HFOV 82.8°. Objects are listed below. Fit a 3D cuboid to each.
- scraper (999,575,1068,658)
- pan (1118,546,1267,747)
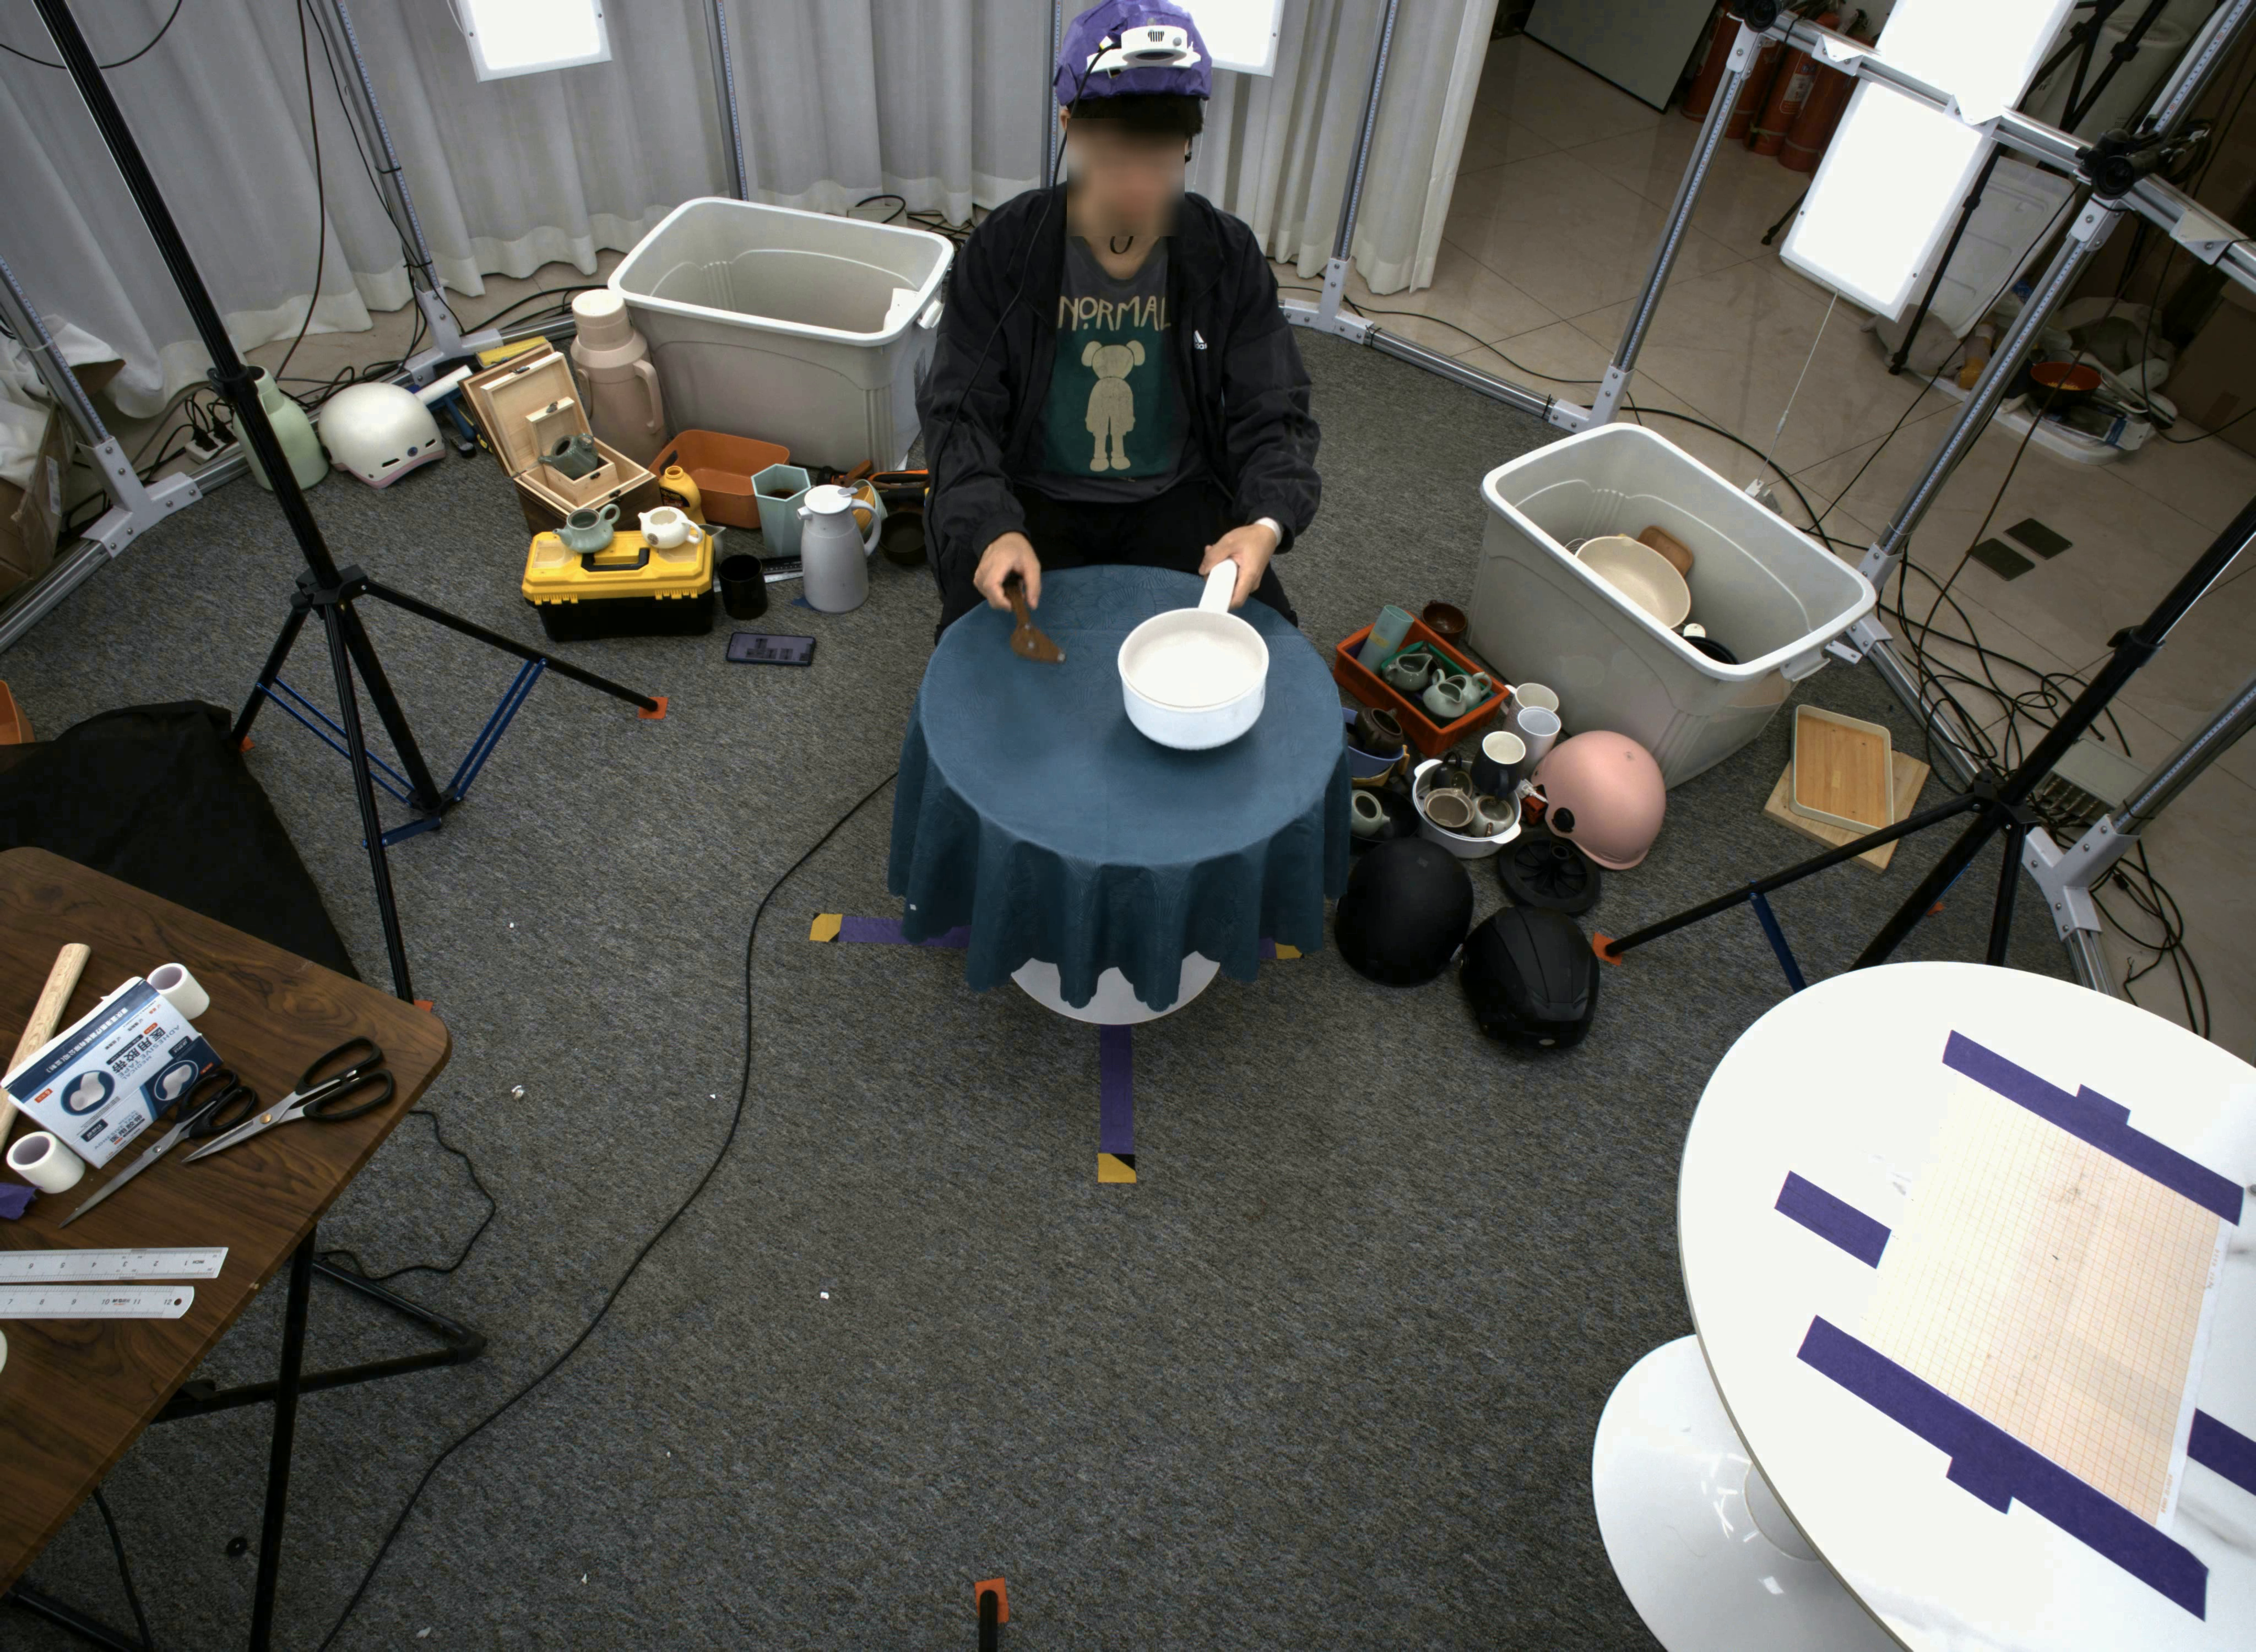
[{"bbox_3d":[-0.141,-0.289,1.763,0.075,0.010,0.216,10,34,-29],"label":"scraper"},{"bbox_3d":[0.110,-0.253,1.803,0.202,0.099,0.362,8,47,14],"label":"pan"}]
